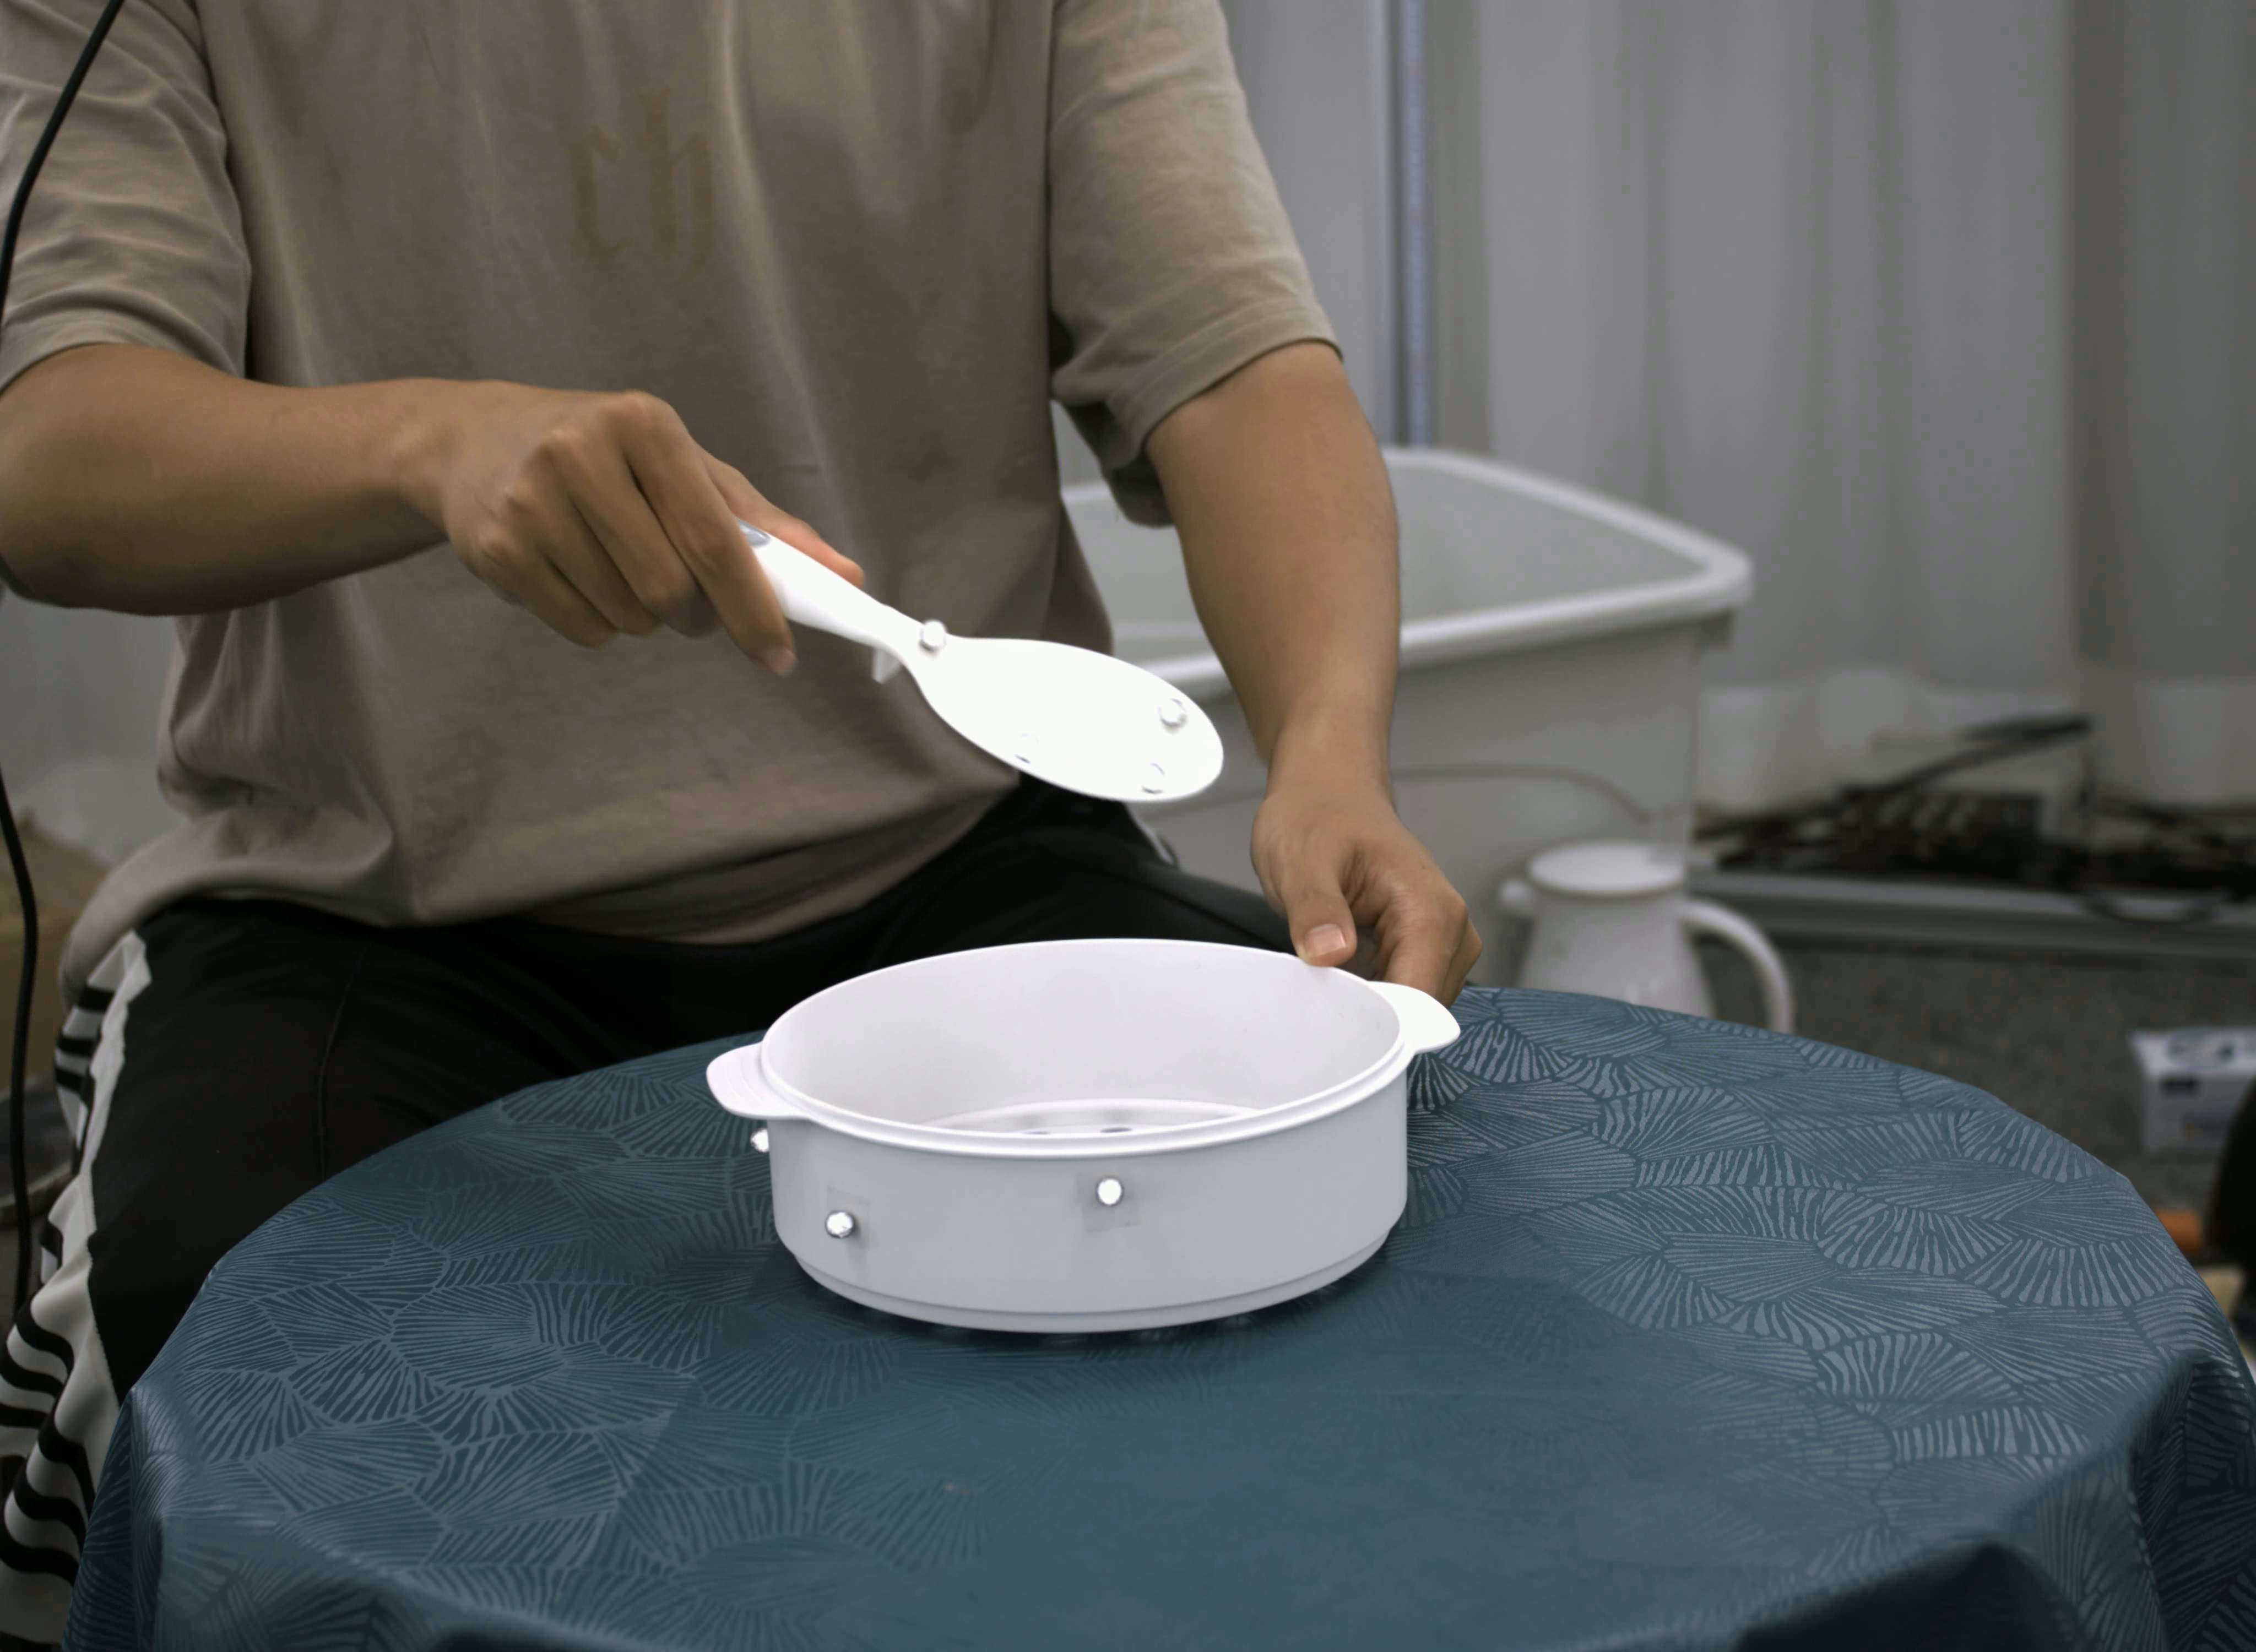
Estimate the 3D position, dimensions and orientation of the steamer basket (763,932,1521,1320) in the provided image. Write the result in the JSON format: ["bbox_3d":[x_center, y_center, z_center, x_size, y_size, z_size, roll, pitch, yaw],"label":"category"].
[{"bbox_3d":[0.004,0.091,1.662,0.229,0.069,0.203,-3,15,-11],"label":"steamer basket"}]

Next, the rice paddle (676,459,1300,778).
[{"bbox_3d":[-0.041,-0.061,1.632,0.206,0.029,0.069,23,38,20],"label":"rice paddle"}]
